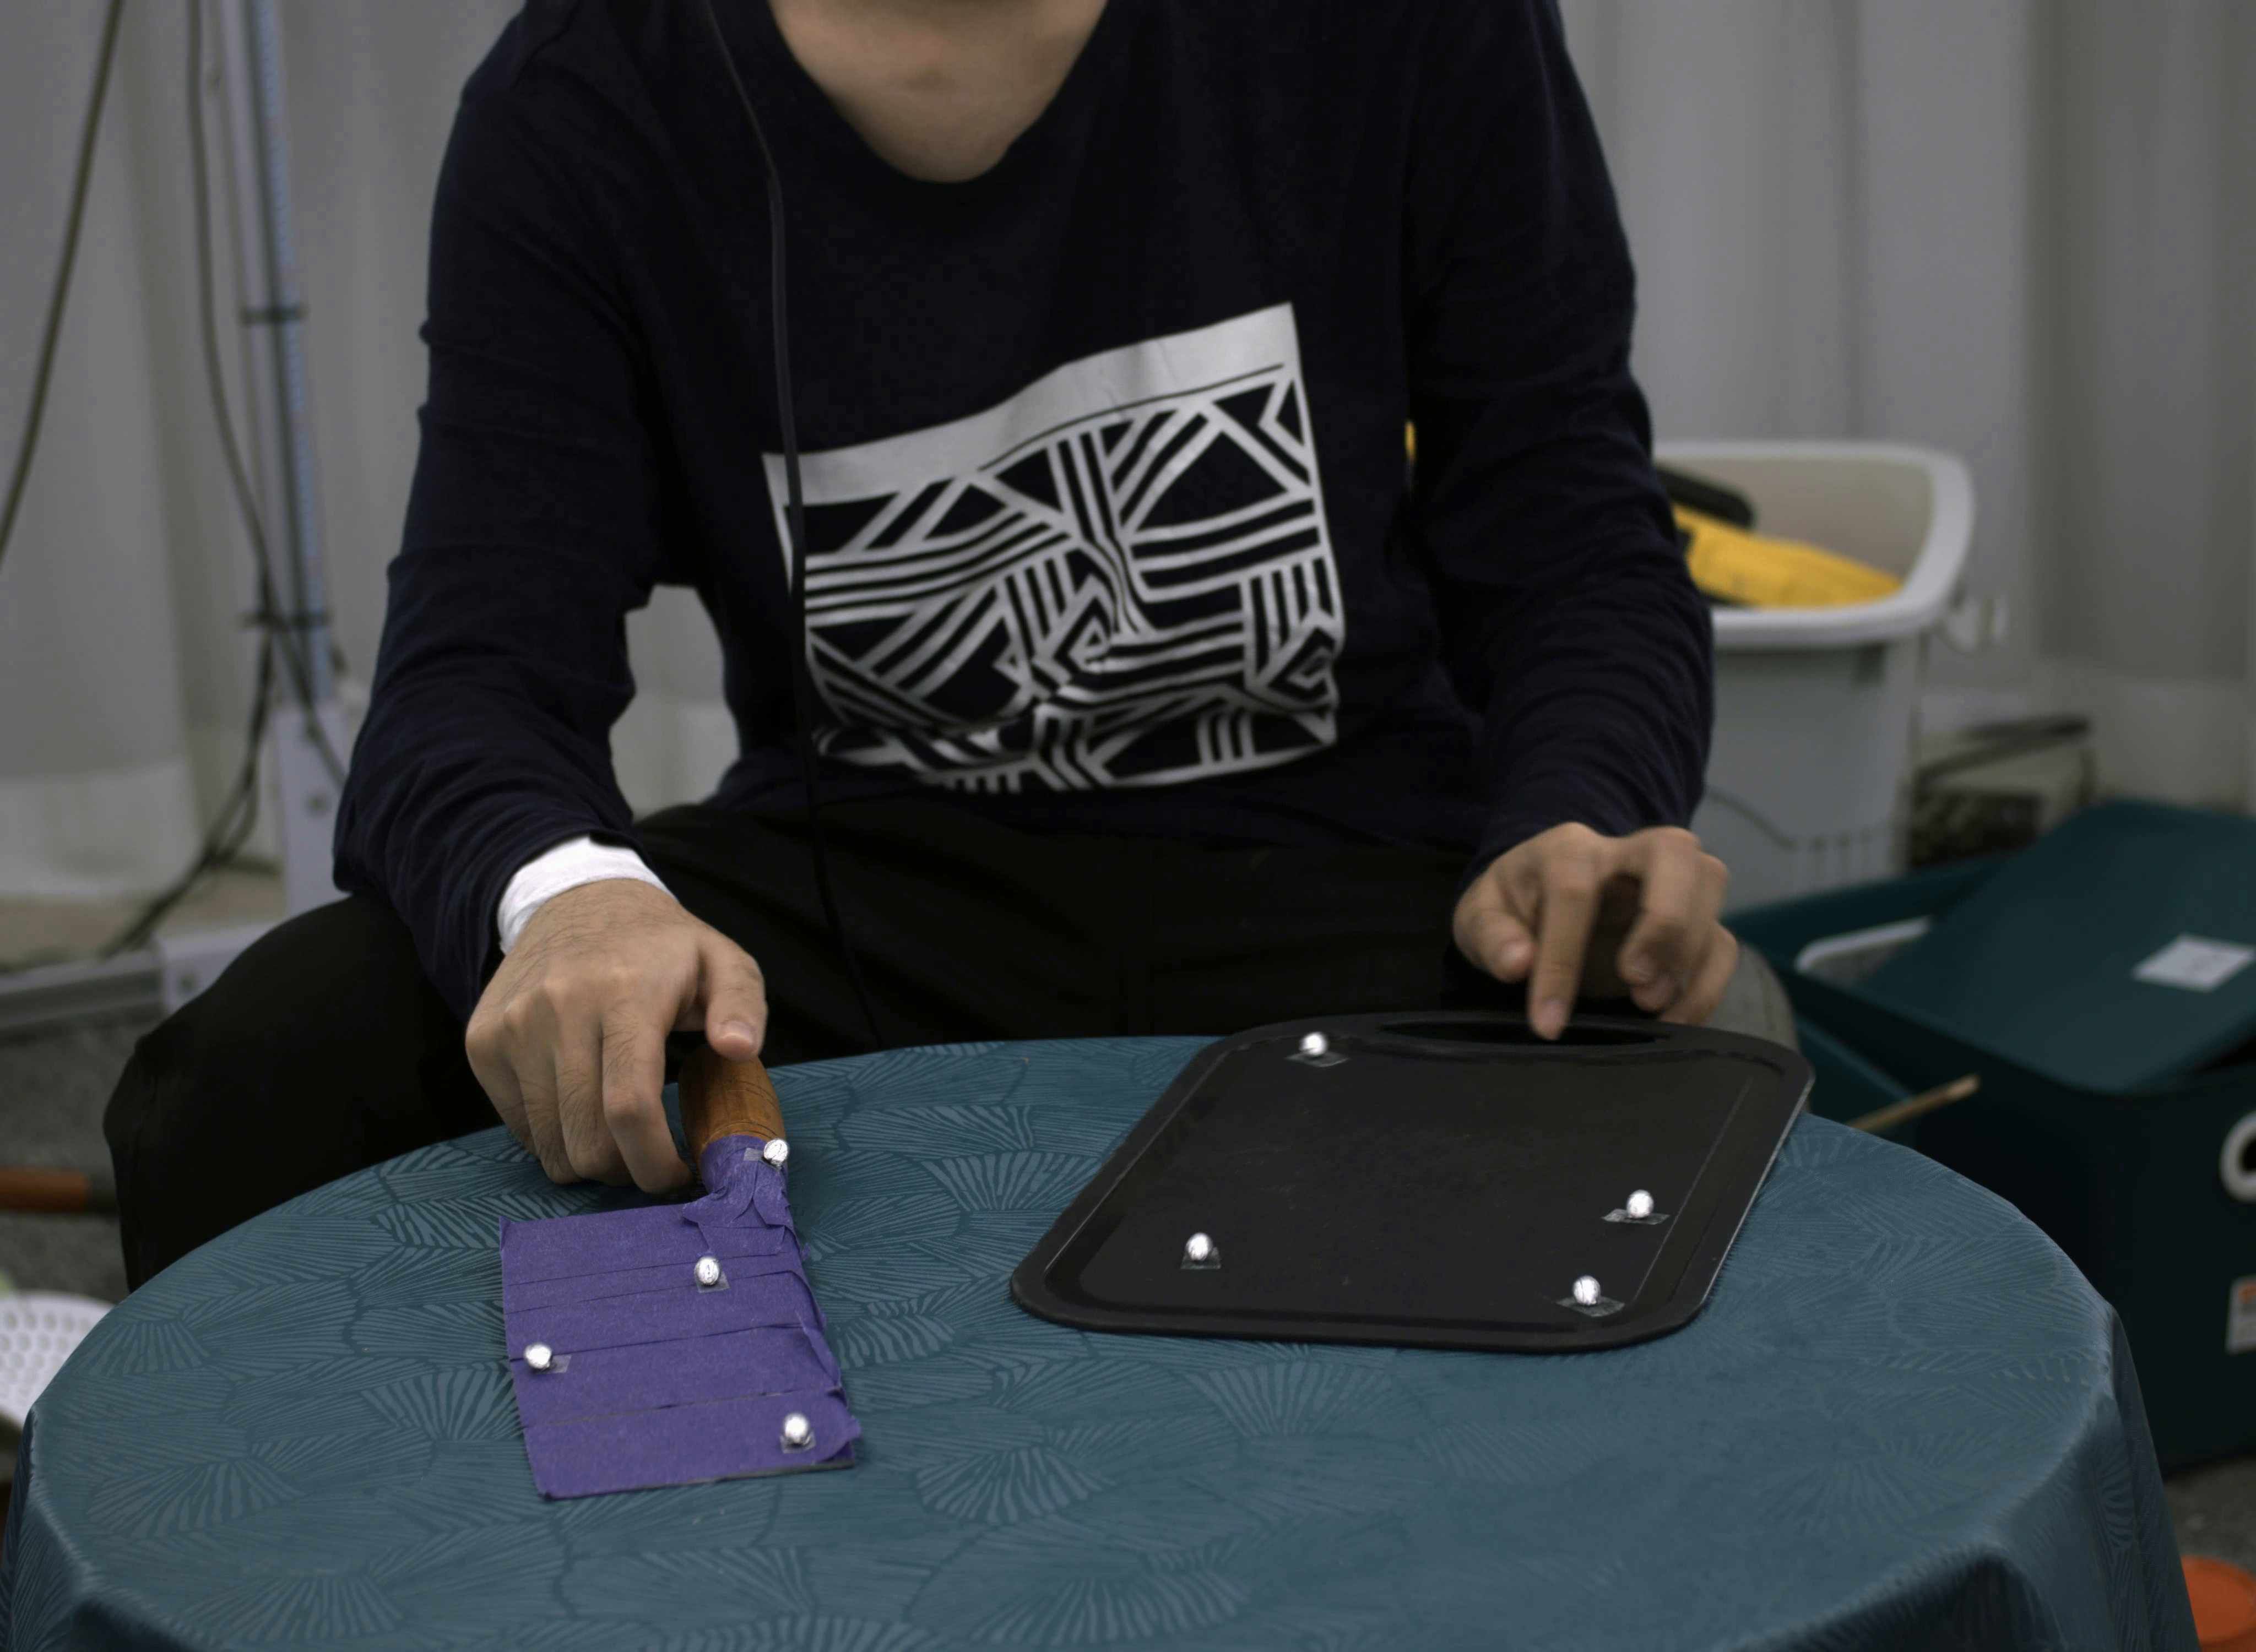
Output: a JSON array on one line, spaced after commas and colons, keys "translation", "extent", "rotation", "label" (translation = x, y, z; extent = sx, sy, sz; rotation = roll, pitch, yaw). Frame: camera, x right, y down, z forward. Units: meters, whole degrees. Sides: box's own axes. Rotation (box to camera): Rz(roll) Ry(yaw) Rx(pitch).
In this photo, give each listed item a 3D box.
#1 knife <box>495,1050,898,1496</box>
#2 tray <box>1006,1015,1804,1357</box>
[{"translation": [-0.140, 0.130, 1.636], "extent": [0.103, 0.032, 0.318], "rotation": [-5, 15, -9], "label": "knife"}, {"translation": [0.094, 0.106, 1.722], "extent": [0.211, 0.010, 0.327], "rotation": [1, 15, 15], "label": "tray"}]
